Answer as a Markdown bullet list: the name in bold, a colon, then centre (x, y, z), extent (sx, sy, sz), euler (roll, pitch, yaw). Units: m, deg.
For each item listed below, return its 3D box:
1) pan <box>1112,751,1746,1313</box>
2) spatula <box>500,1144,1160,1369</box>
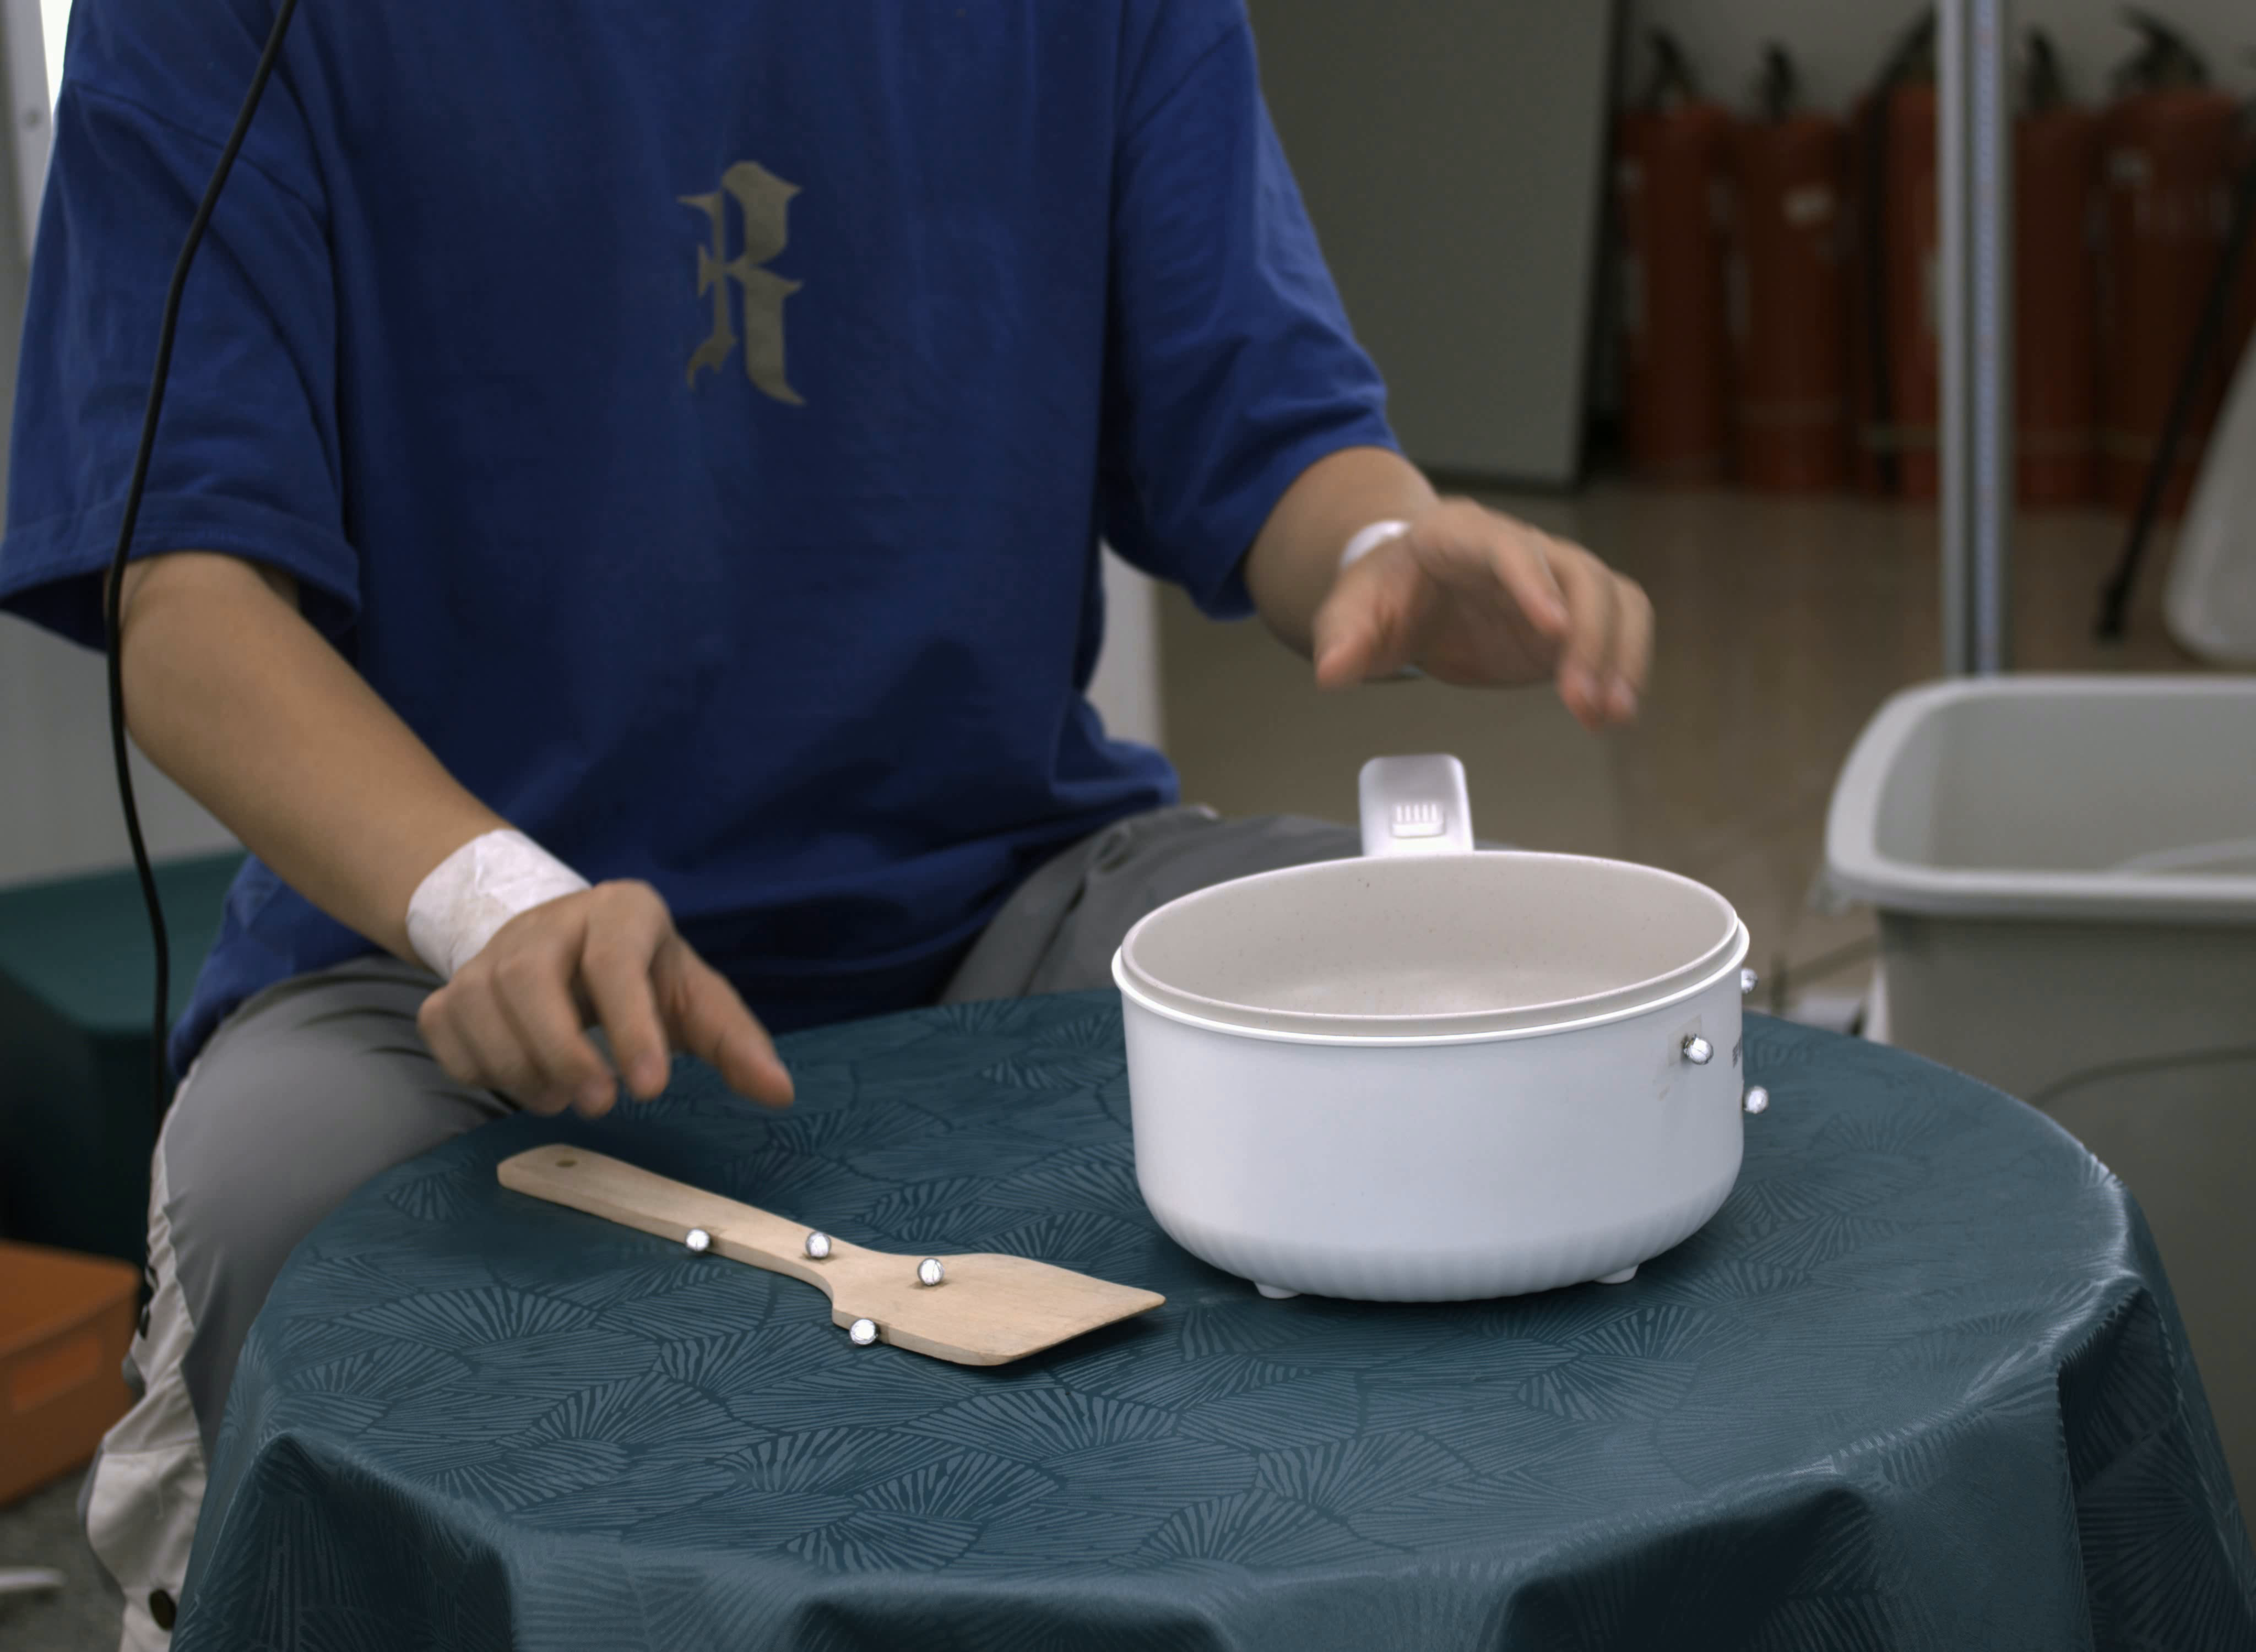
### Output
- **pan**: centre (0.100, 0.064, 1.772), extent (0.199, 0.103, 0.355), euler (-5, 14, 3)
- **spatula**: centre (-0.110, 0.135, 1.728), extent (0.071, 0.011, 0.296), euler (-17, 19, -39)
